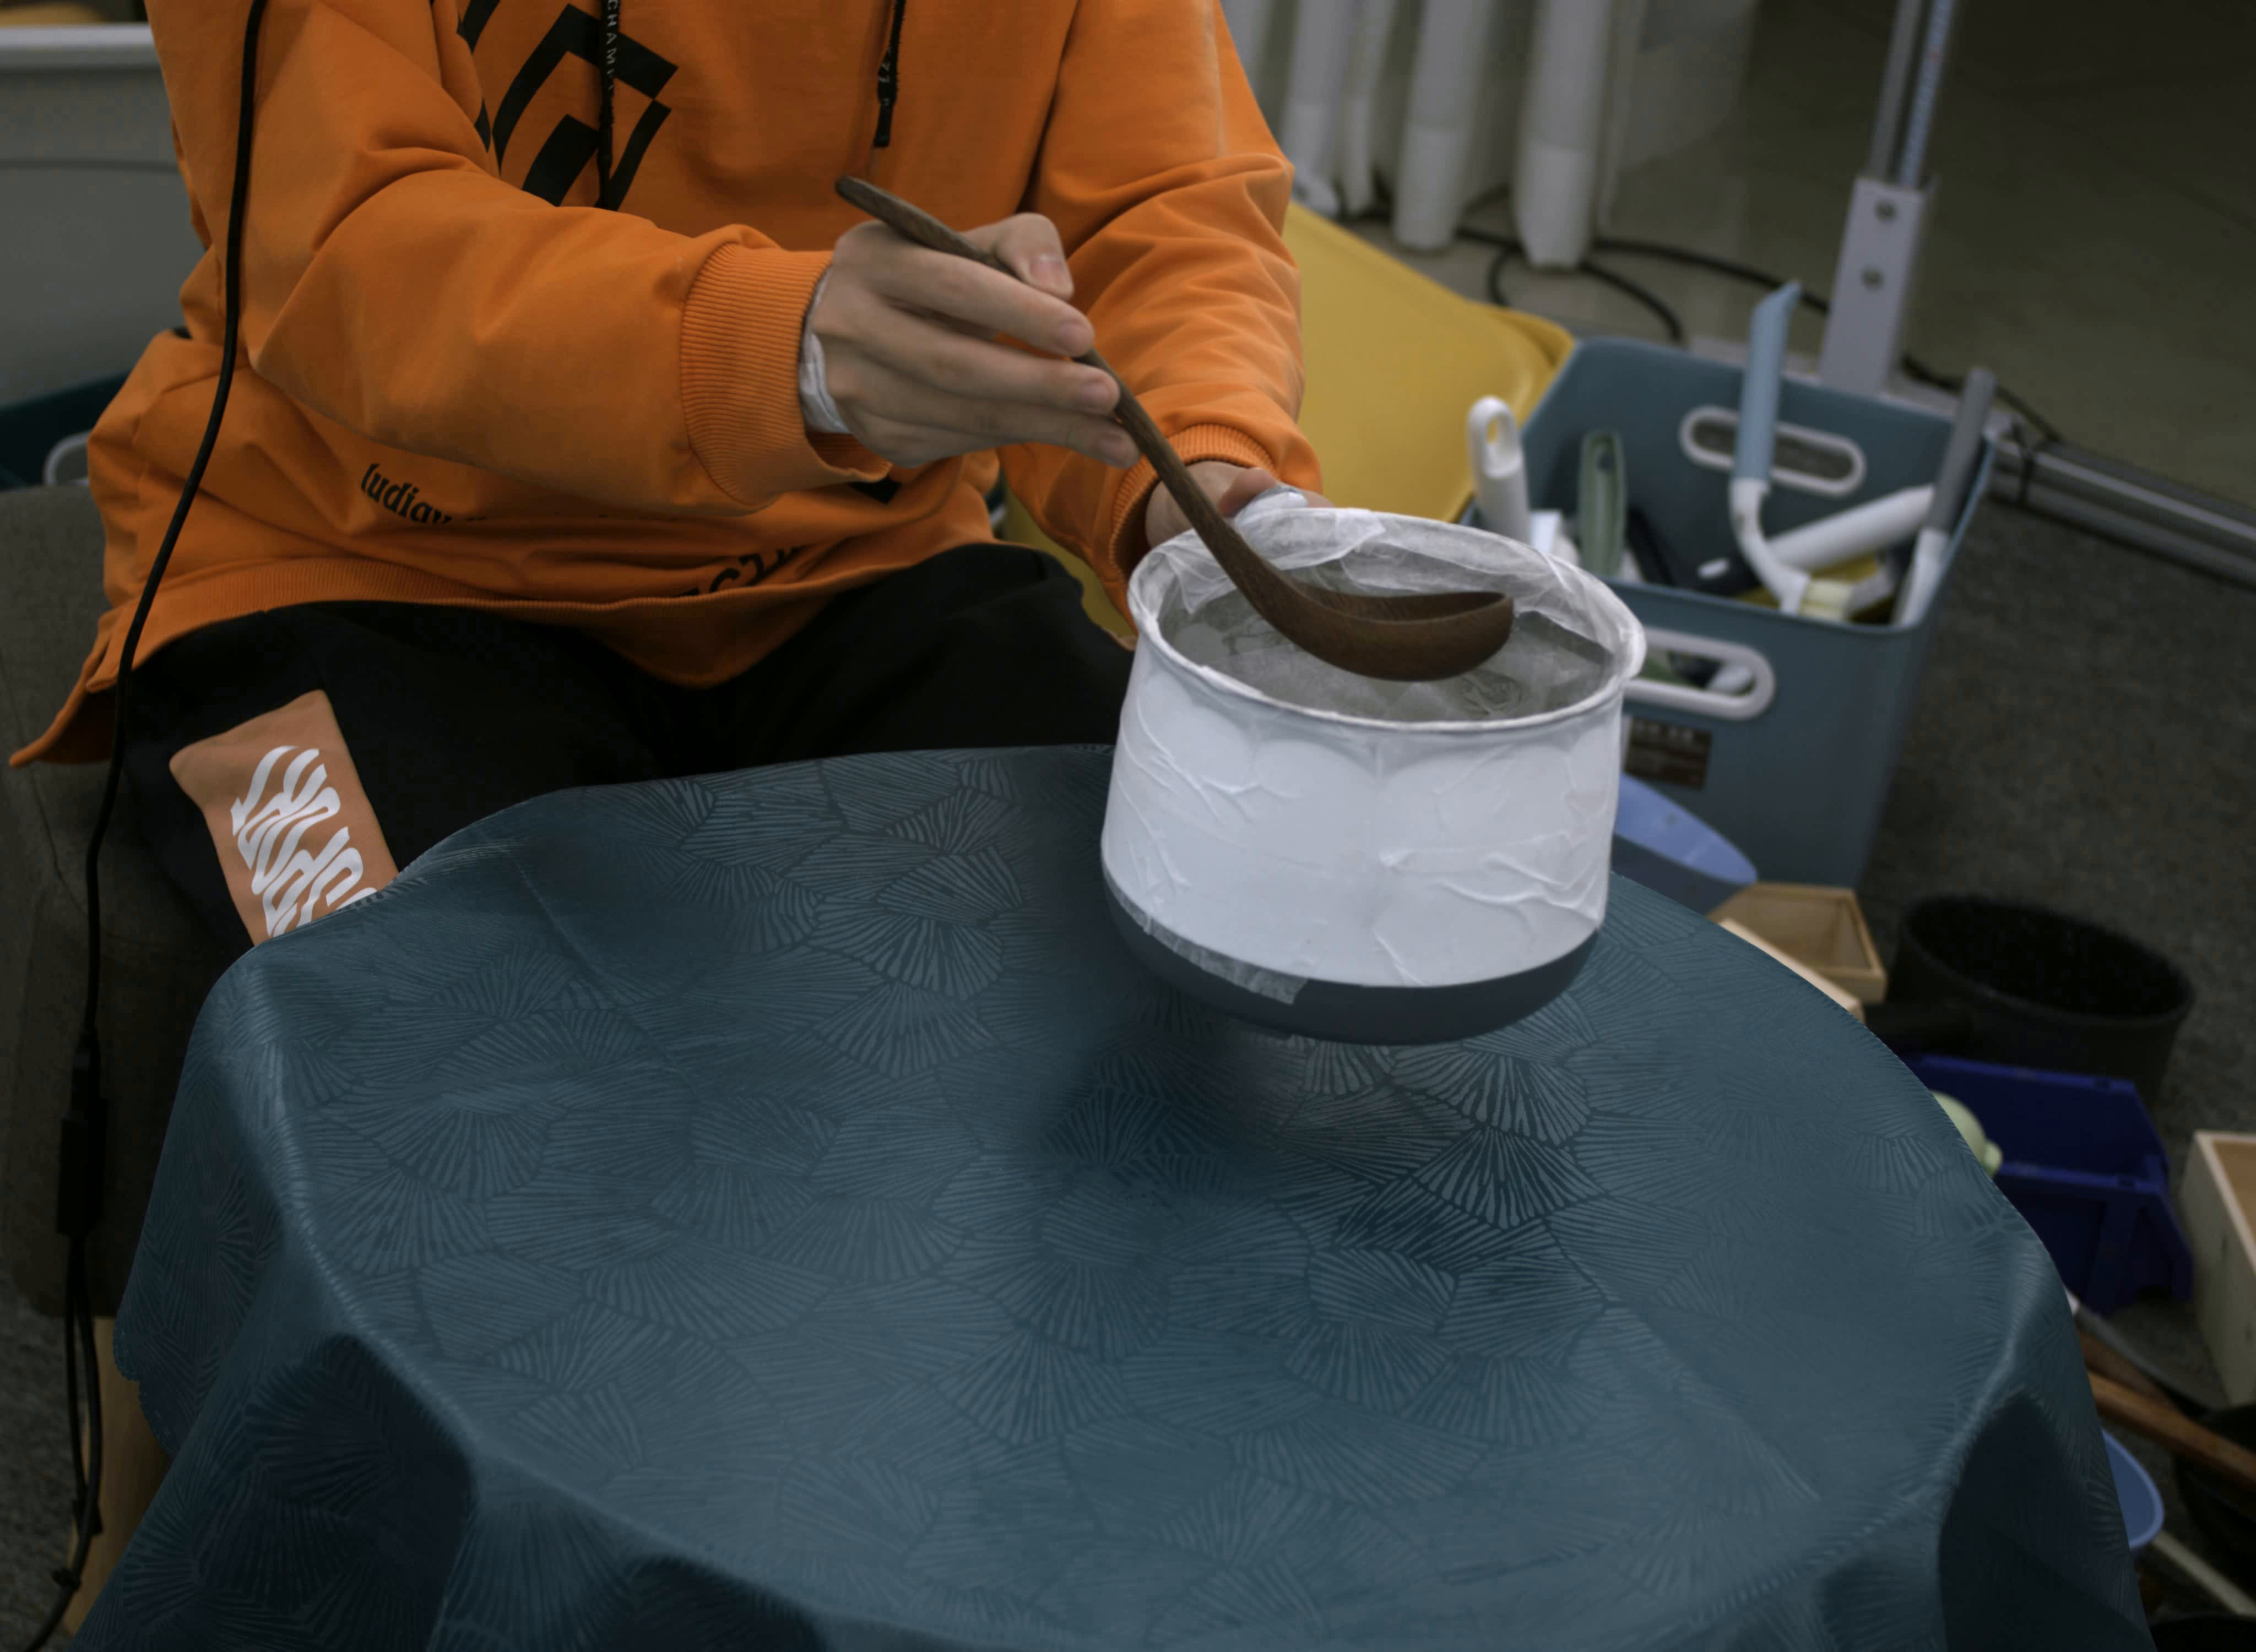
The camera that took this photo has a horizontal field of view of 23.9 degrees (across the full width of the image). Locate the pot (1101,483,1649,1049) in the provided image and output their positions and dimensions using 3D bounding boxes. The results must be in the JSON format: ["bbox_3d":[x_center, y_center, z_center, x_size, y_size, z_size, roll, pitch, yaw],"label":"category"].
[{"bbox_3d":[0.072,-0.027,1.849,0.177,0.136,0.236,-4,28,-21],"label":"pot"}]

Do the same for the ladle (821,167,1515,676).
[{"bbox_3d":[0.017,-0.148,1.804,0.274,0.071,0.076,45,2,-4],"label":"ladle"}]
